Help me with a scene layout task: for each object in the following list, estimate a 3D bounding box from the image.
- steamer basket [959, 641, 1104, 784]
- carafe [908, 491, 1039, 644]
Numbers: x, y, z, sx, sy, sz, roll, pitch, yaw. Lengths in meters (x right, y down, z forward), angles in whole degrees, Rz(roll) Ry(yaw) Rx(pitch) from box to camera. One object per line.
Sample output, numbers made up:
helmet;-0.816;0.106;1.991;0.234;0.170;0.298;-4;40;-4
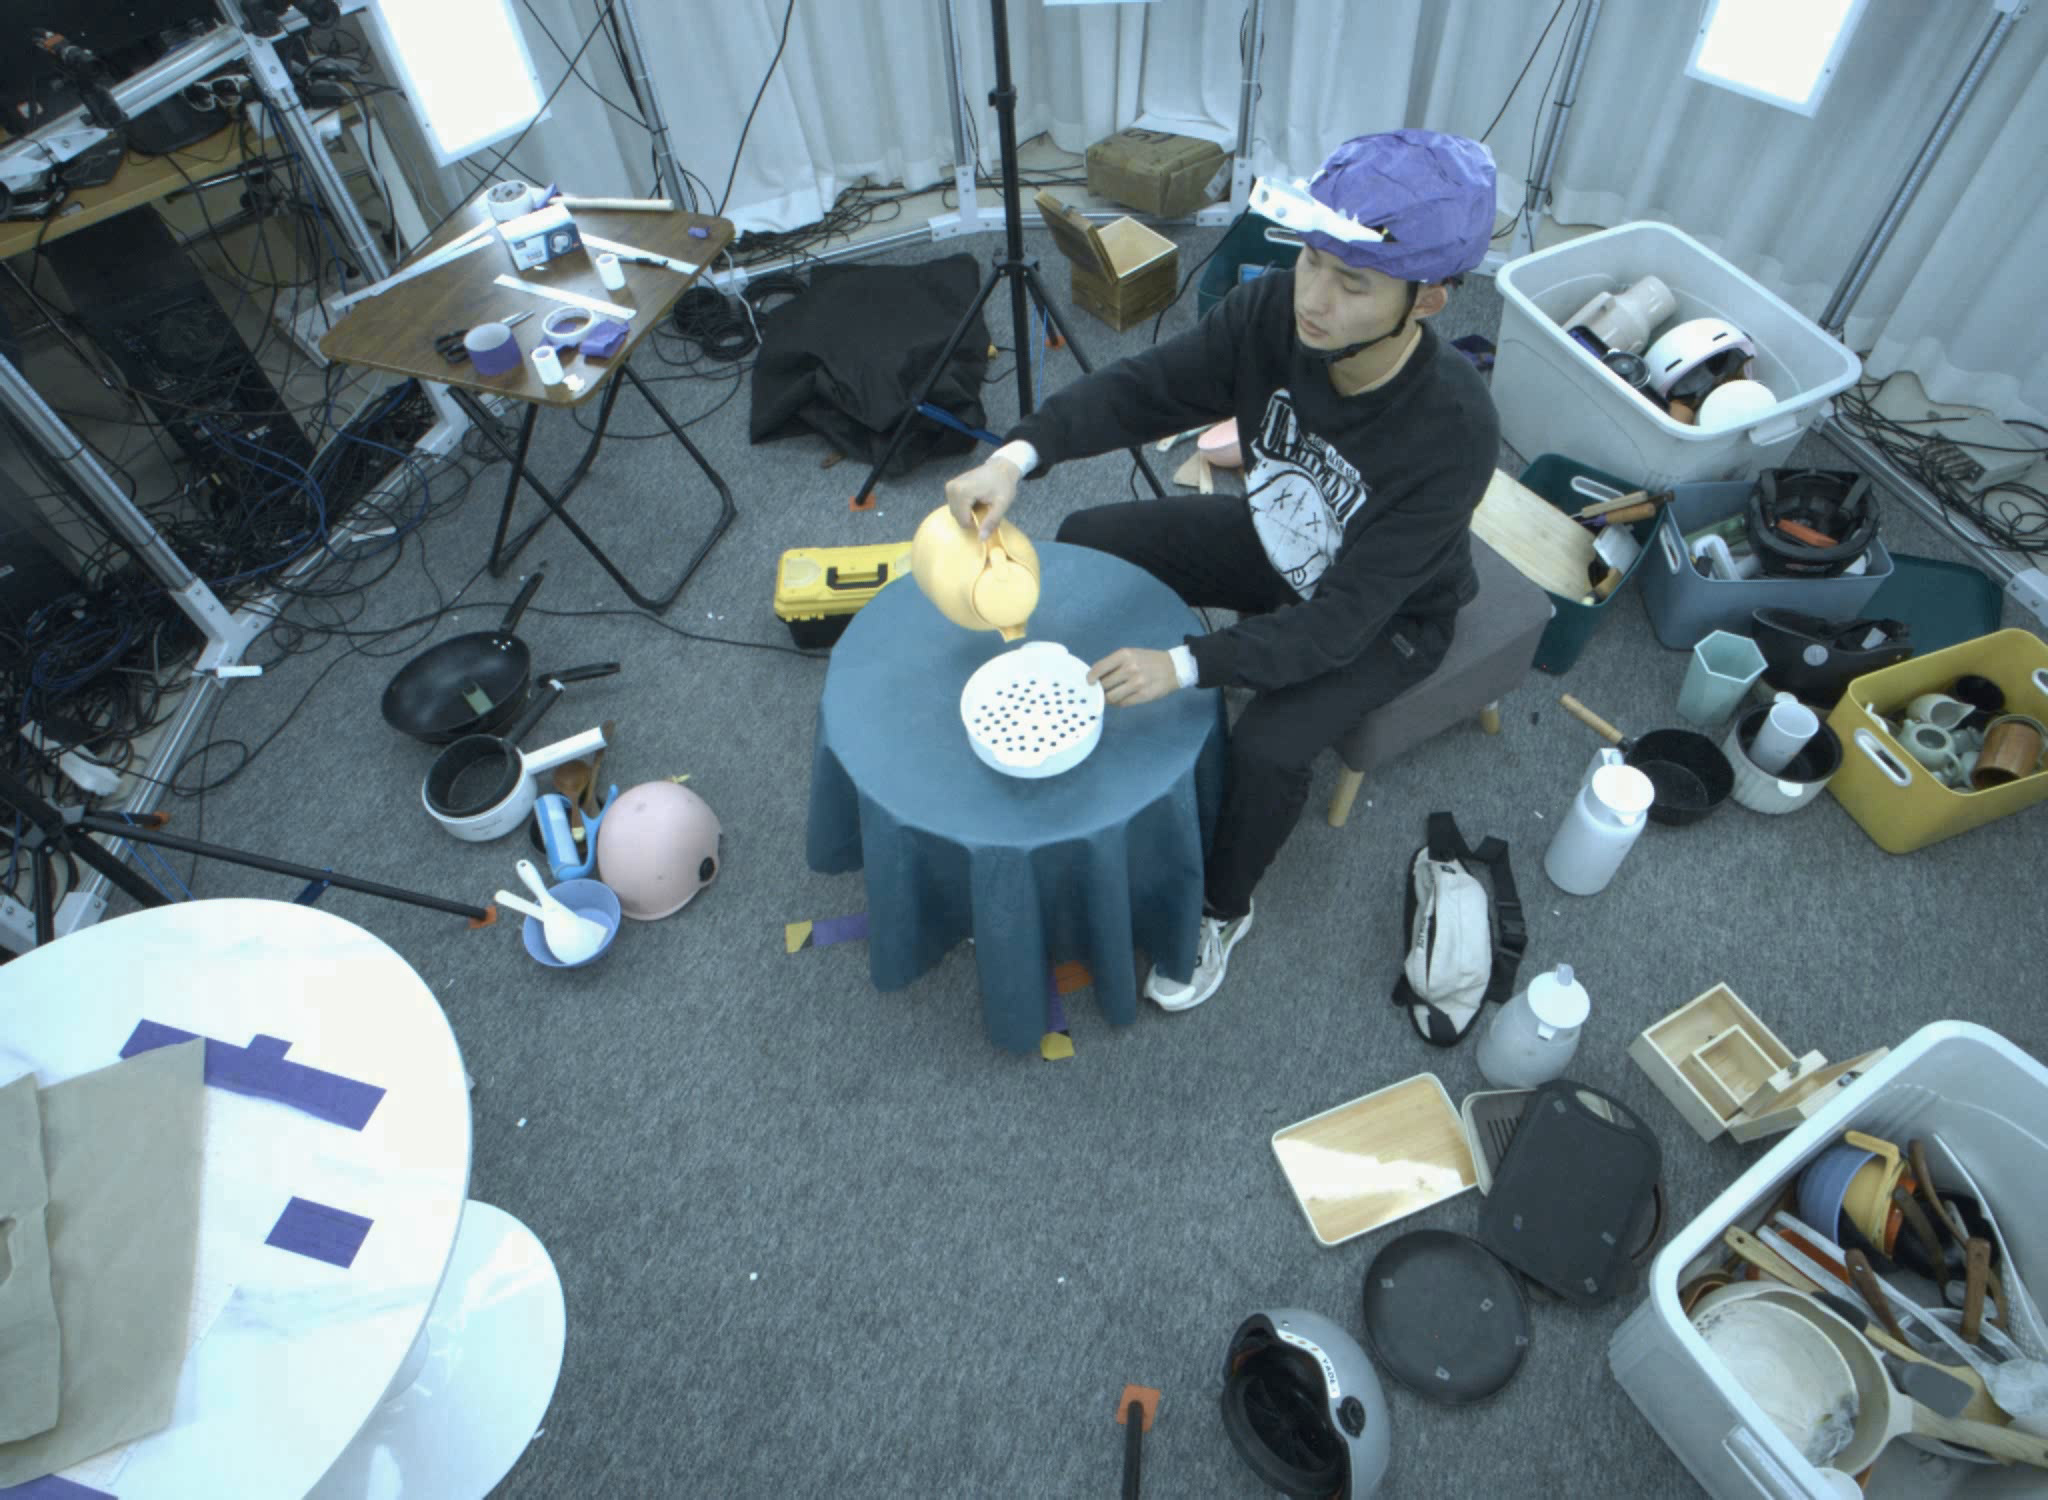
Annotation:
steamer basket;0.012;-0.047;1.735;0.201;0.070;0.229;6;57;7
carafe;-0.065;-0.268;1.722;0.165;0.204;0.255;-18;27;-14
